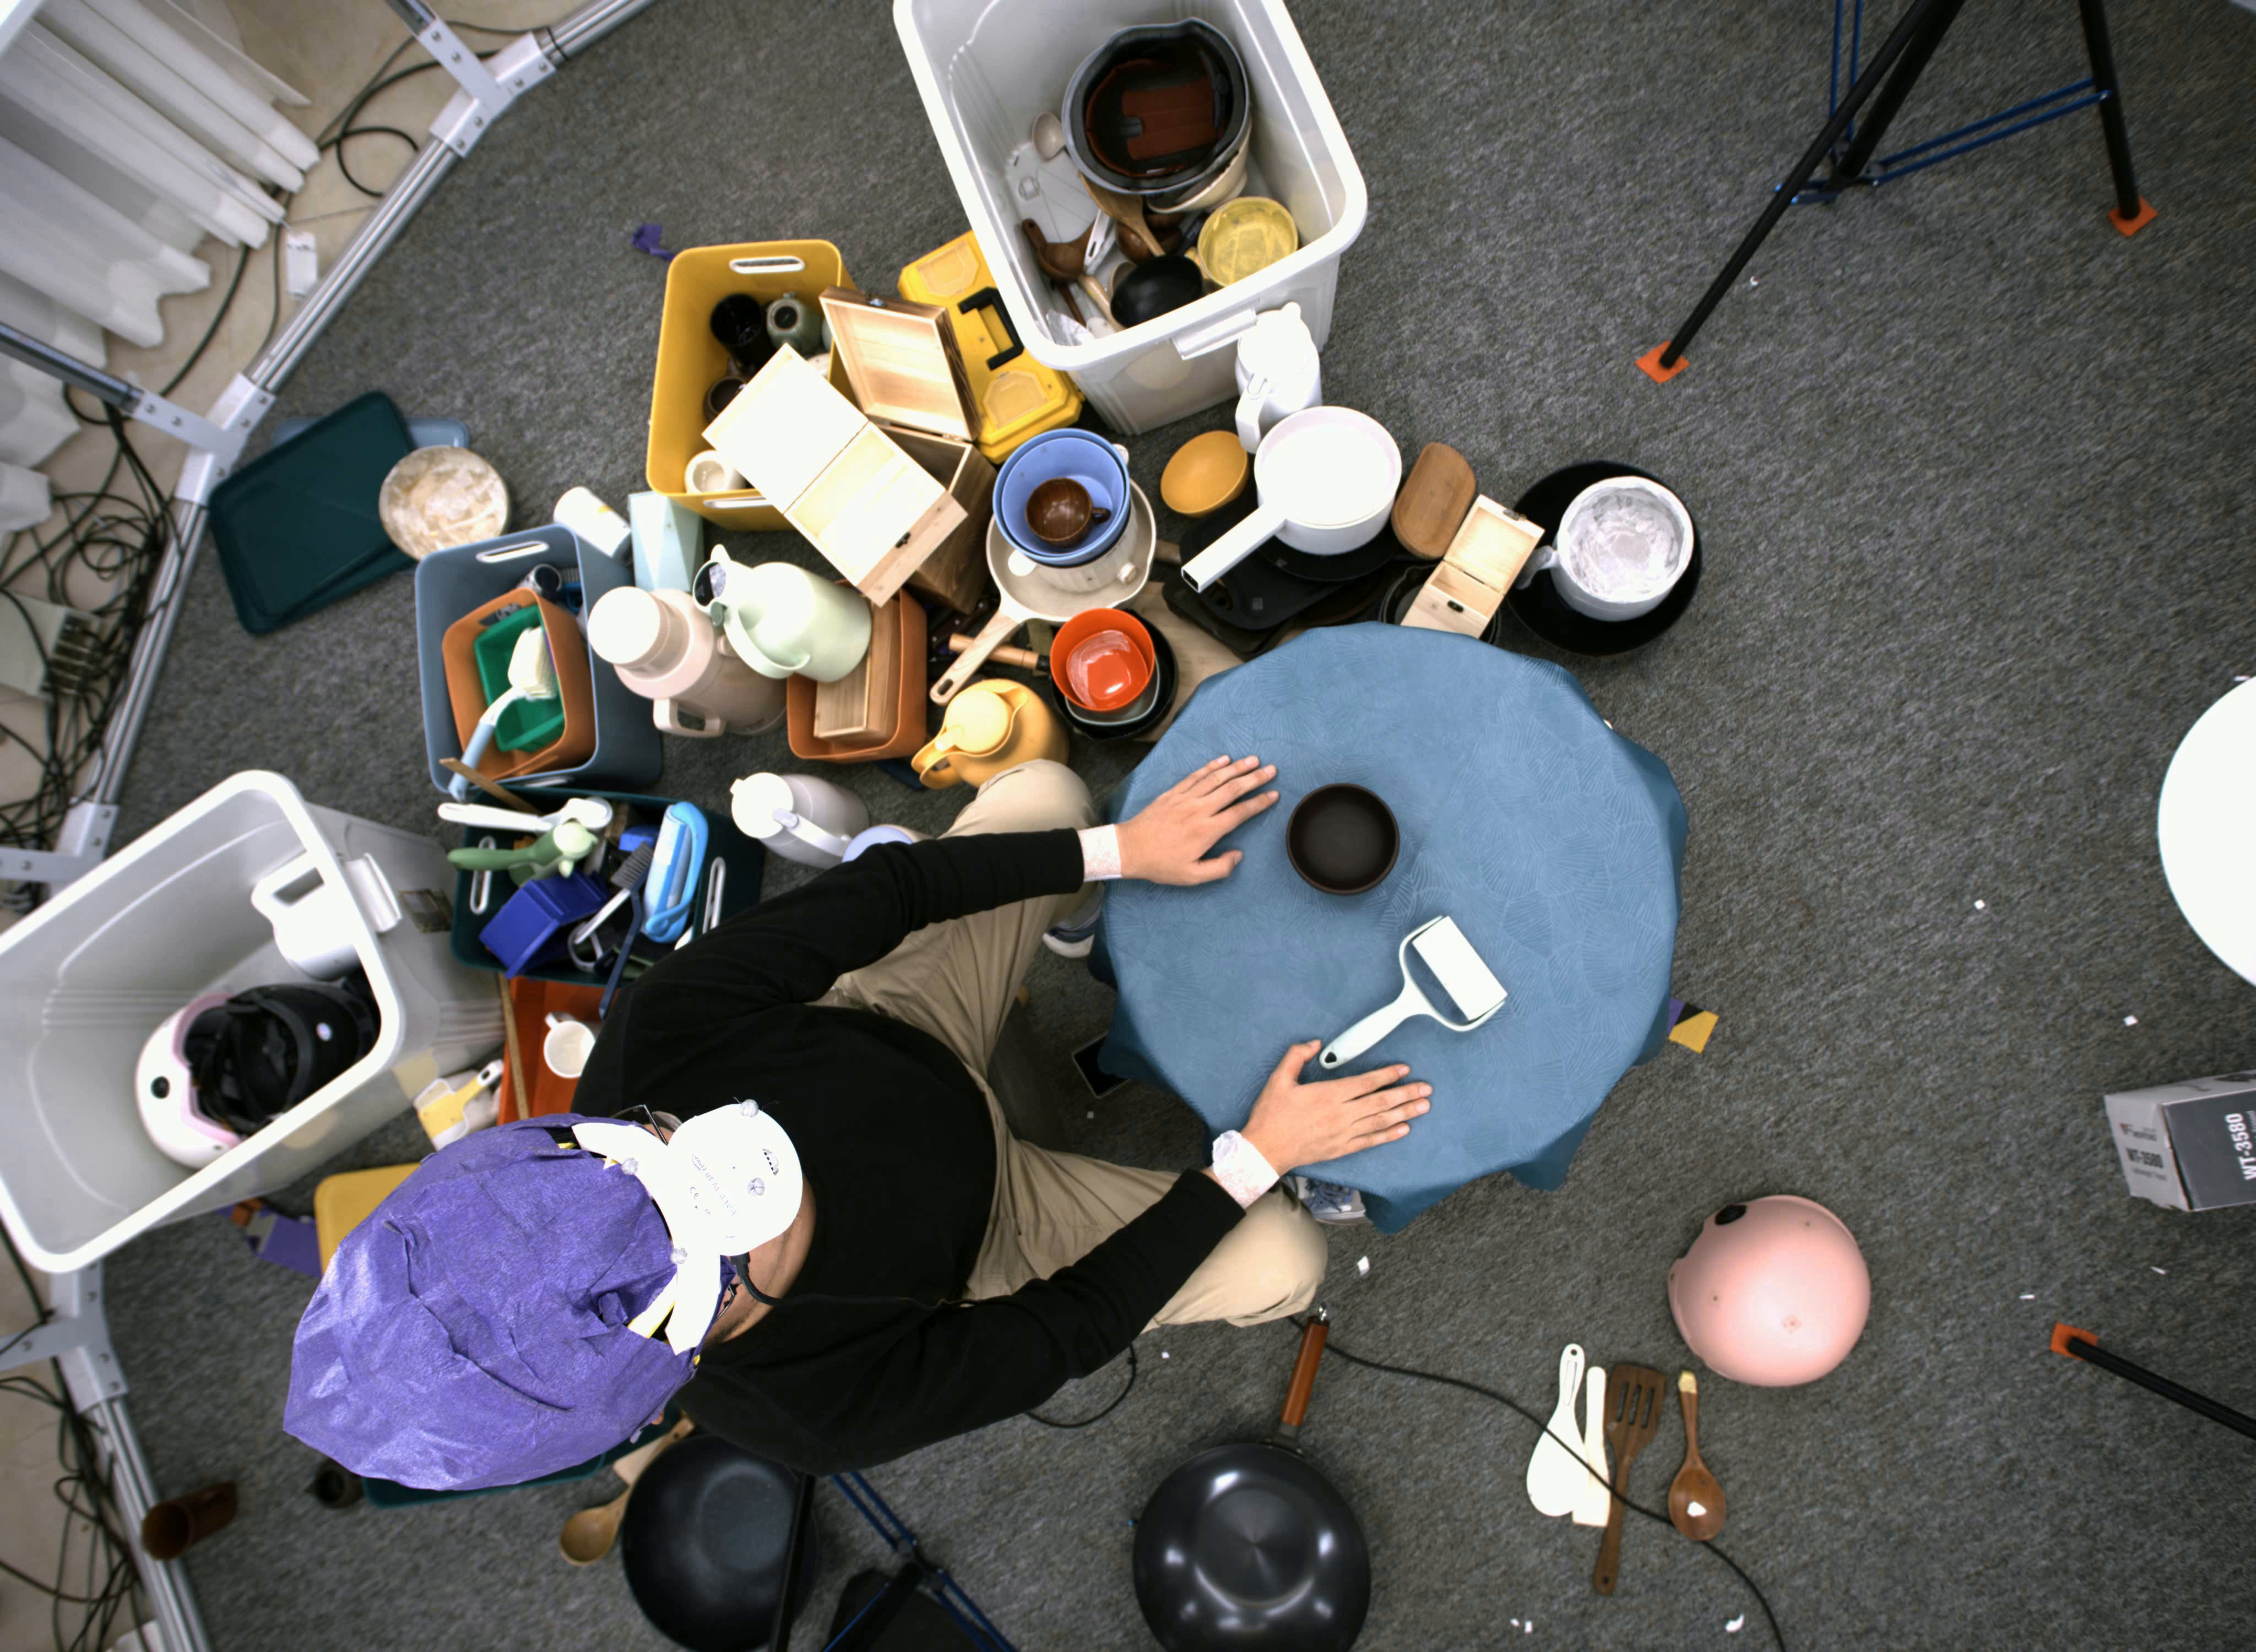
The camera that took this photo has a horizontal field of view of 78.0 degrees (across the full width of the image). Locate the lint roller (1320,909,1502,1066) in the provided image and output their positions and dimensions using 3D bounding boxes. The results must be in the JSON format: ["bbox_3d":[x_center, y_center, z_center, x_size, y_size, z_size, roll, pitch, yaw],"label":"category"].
[{"bbox_3d":[0.277,0.182,1.430,0.199,0.048,0.116,-37,82,8],"label":"lint roller"}]

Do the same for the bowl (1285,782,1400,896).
[{"bbox_3d":[0.223,0.014,1.435,0.118,0.070,0.117,-1,87,11],"label":"bowl"}]
